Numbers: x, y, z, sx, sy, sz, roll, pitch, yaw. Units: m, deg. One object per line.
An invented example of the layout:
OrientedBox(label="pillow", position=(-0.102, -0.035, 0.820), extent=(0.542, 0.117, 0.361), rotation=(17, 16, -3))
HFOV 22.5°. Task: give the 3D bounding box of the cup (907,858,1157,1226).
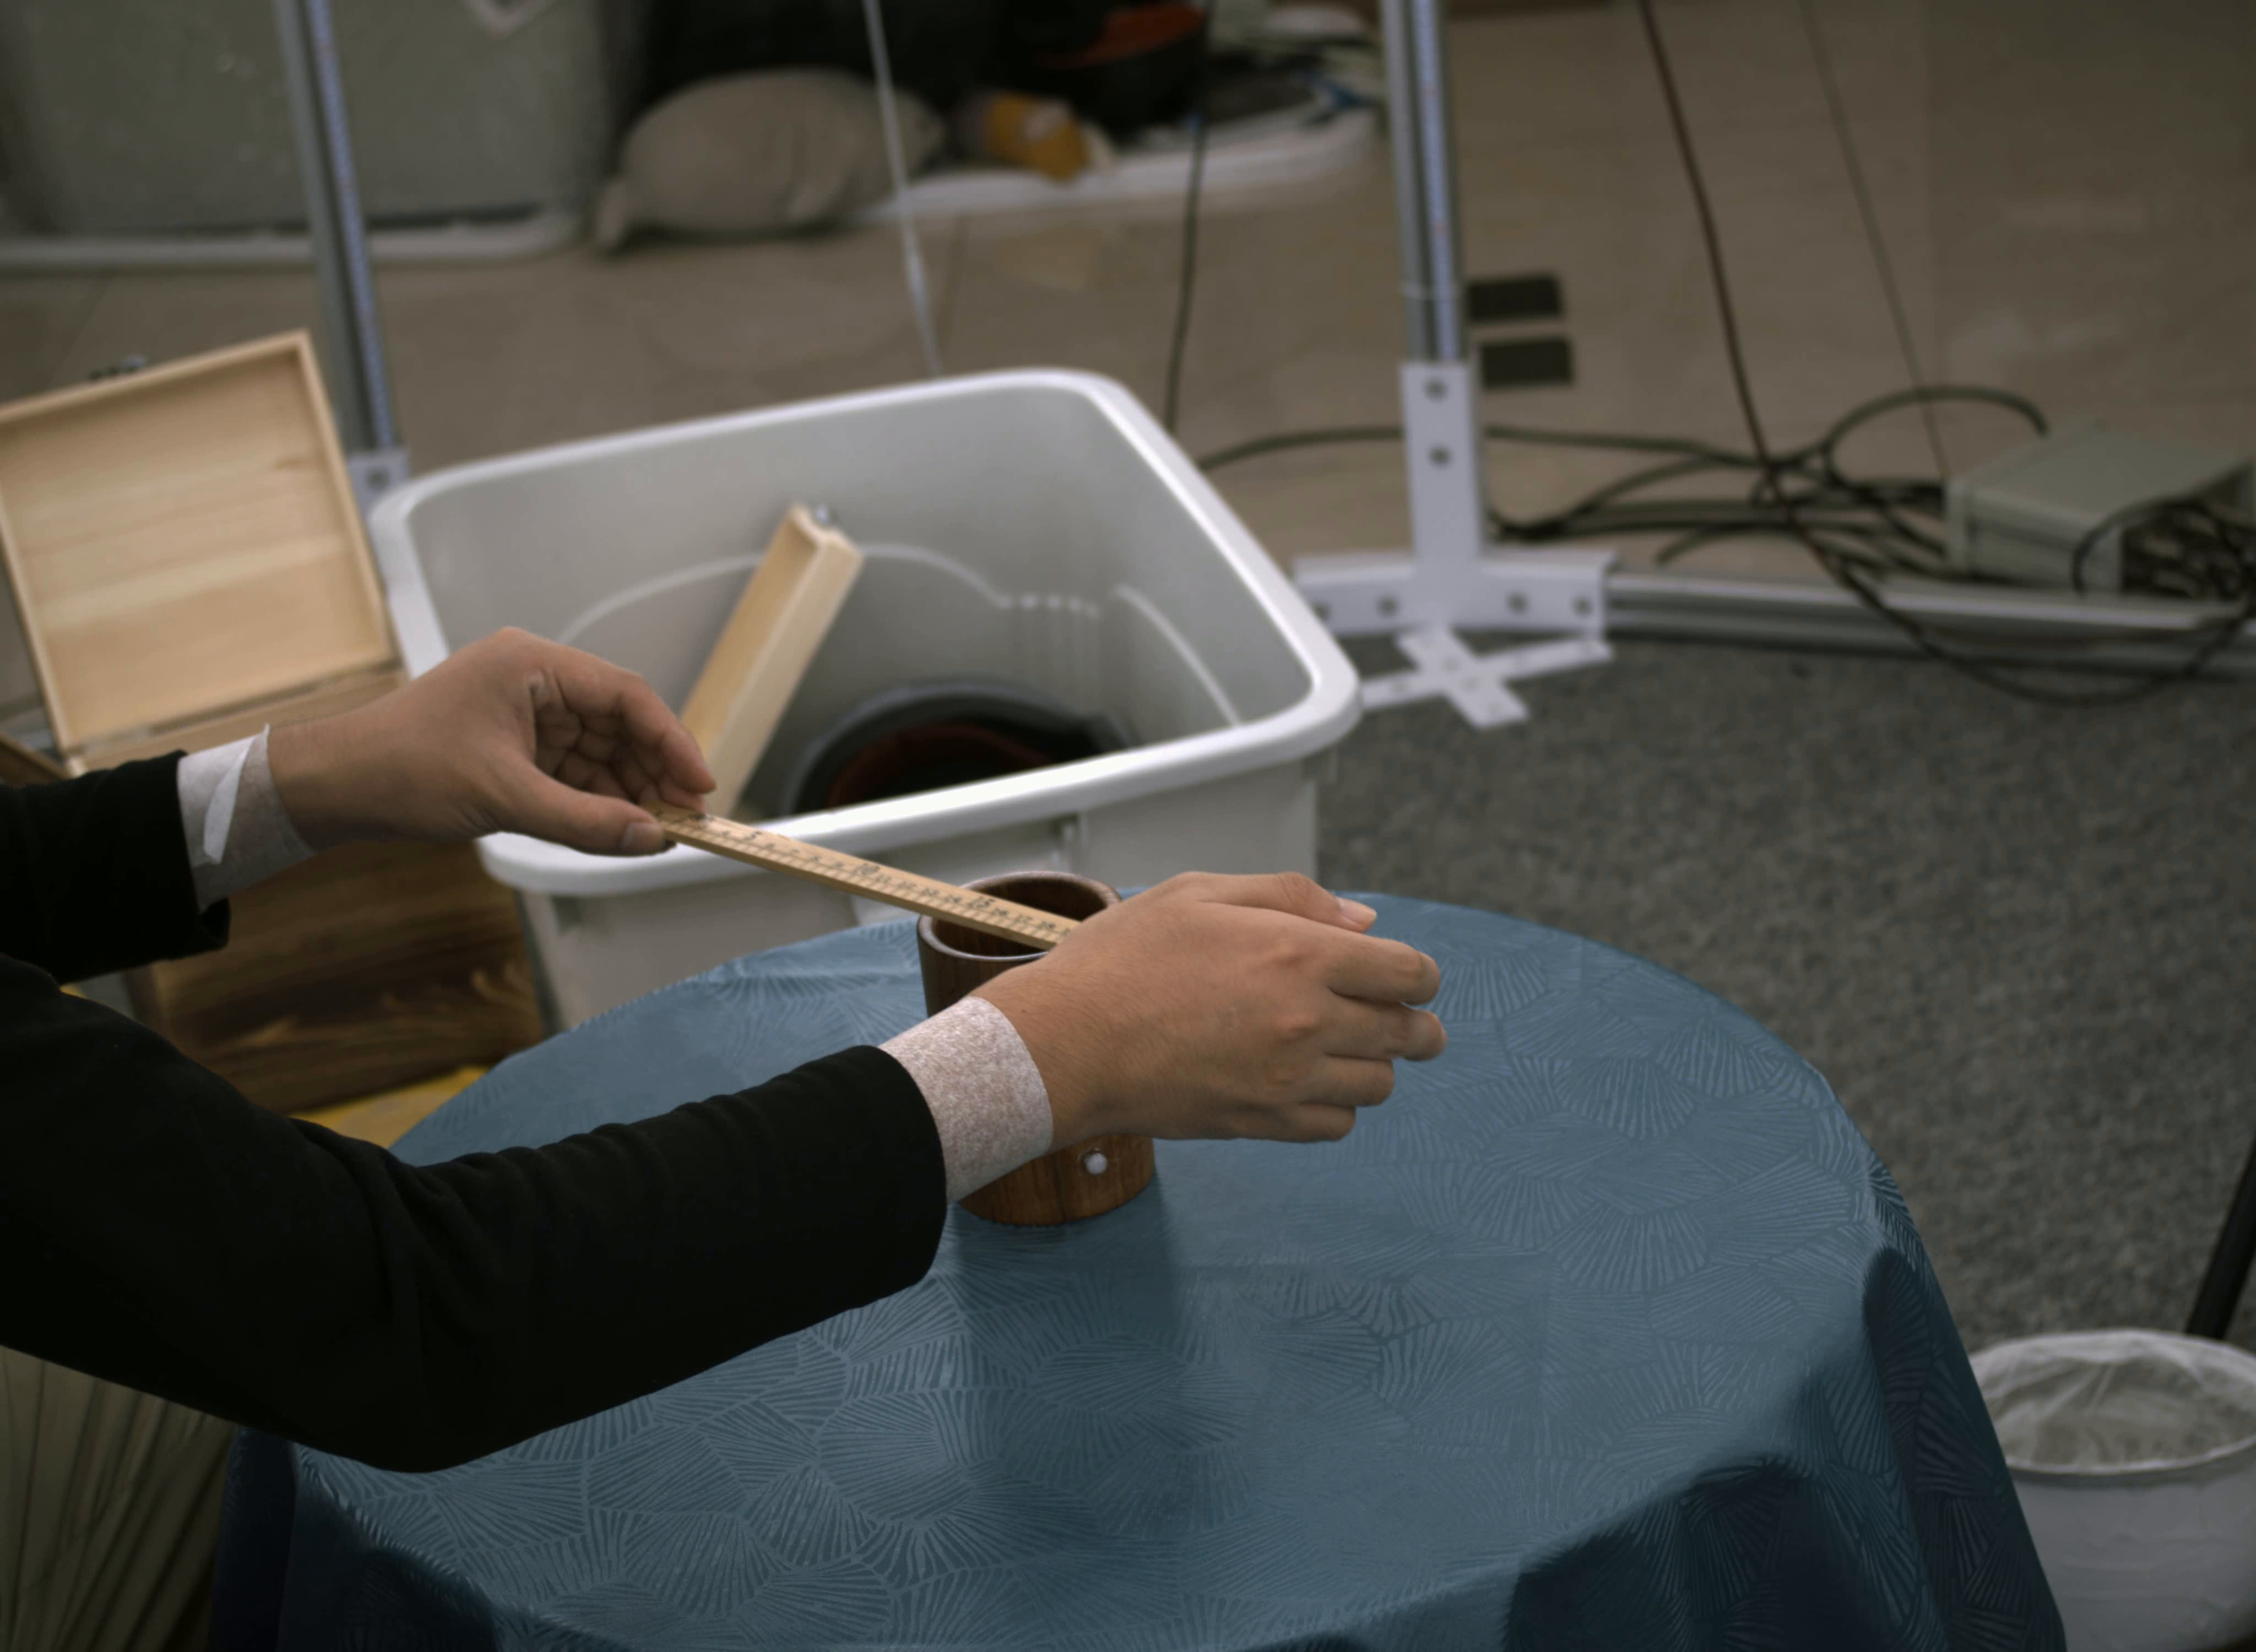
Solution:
OrientedBox(label="cup", position=(-0.033, 0.081, 2.140), extent=(0.087, 0.120, 0.086), rotation=(-6, 25, 3))

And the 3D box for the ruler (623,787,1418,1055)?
OrientedBox(label="ruler", position=(-0.044, 0.031, 2.086), extent=(0.330, 0.022, 0.027), rotation=(17, 19, 26))
